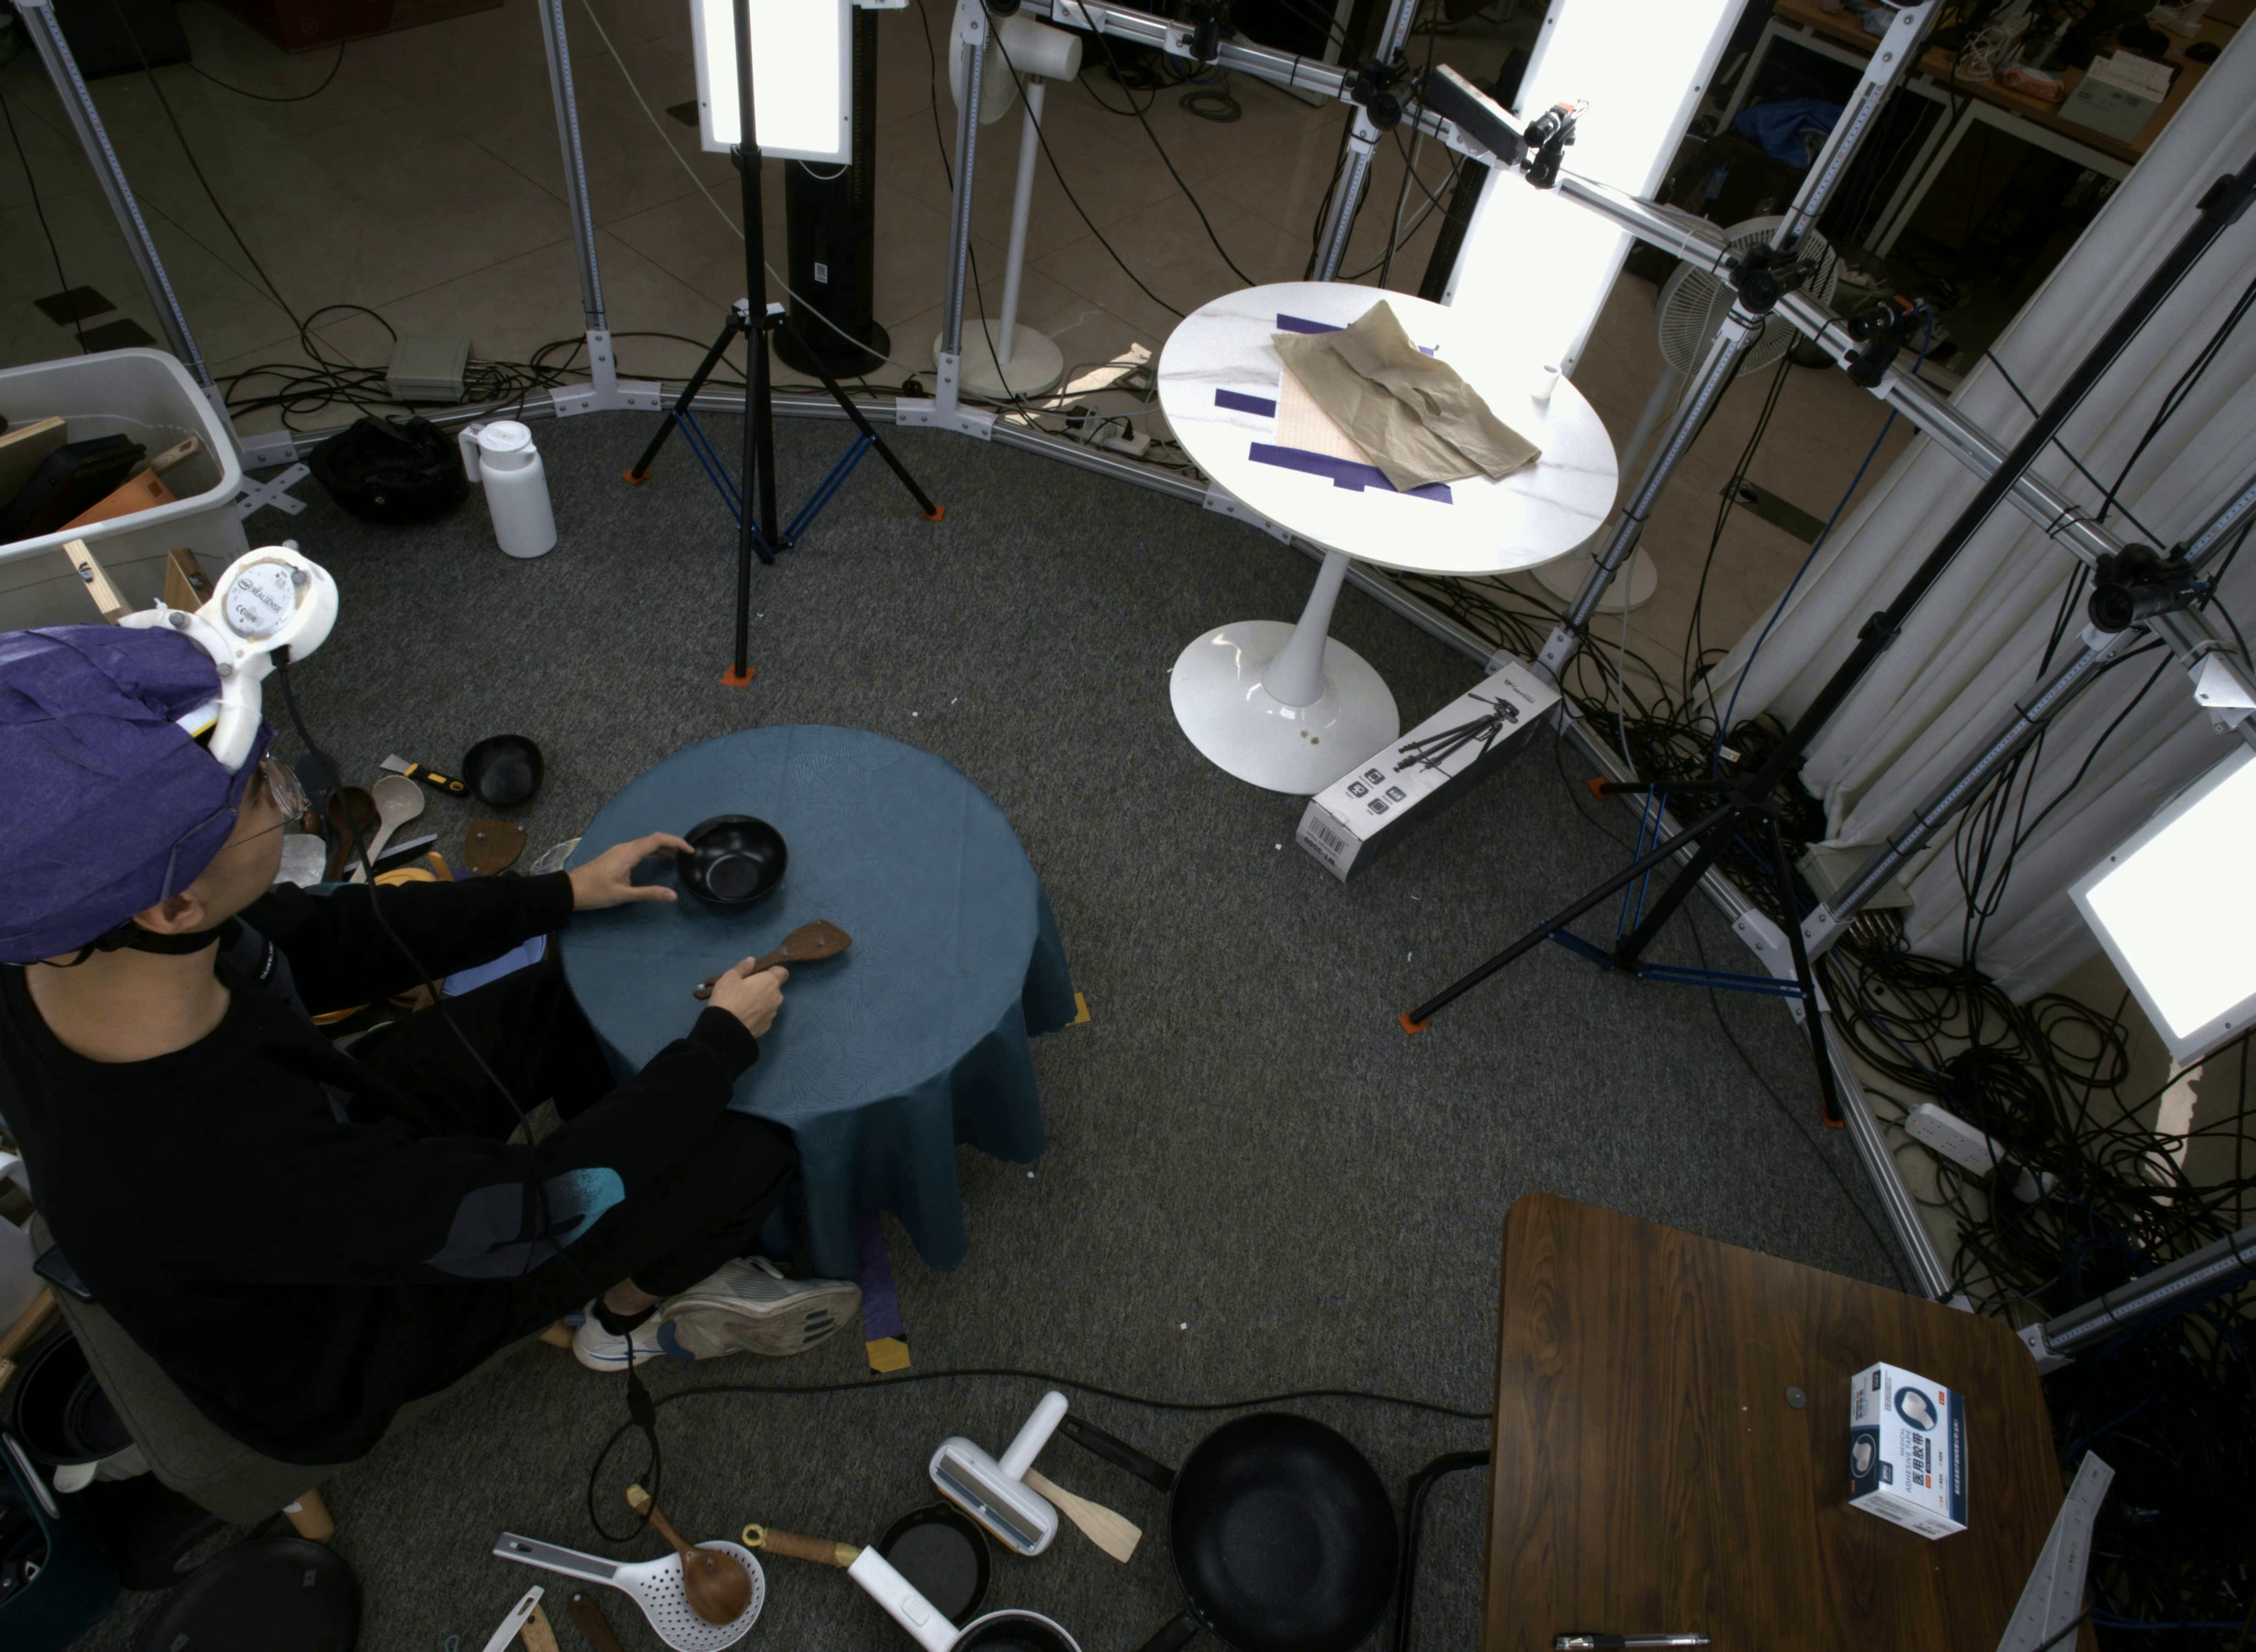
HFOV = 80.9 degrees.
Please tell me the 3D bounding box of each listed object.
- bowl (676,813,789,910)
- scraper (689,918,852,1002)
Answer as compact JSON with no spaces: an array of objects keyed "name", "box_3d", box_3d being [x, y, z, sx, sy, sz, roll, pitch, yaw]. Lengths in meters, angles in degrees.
[{"name":"bowl","box_3d":[-0.501,0.051,1.639,0.140,0.050,0.137,9,53,-11]},{"name":"scraper","box_3d":[-0.433,0.161,1.559,0.073,0.011,0.213,27,35,33]}]
